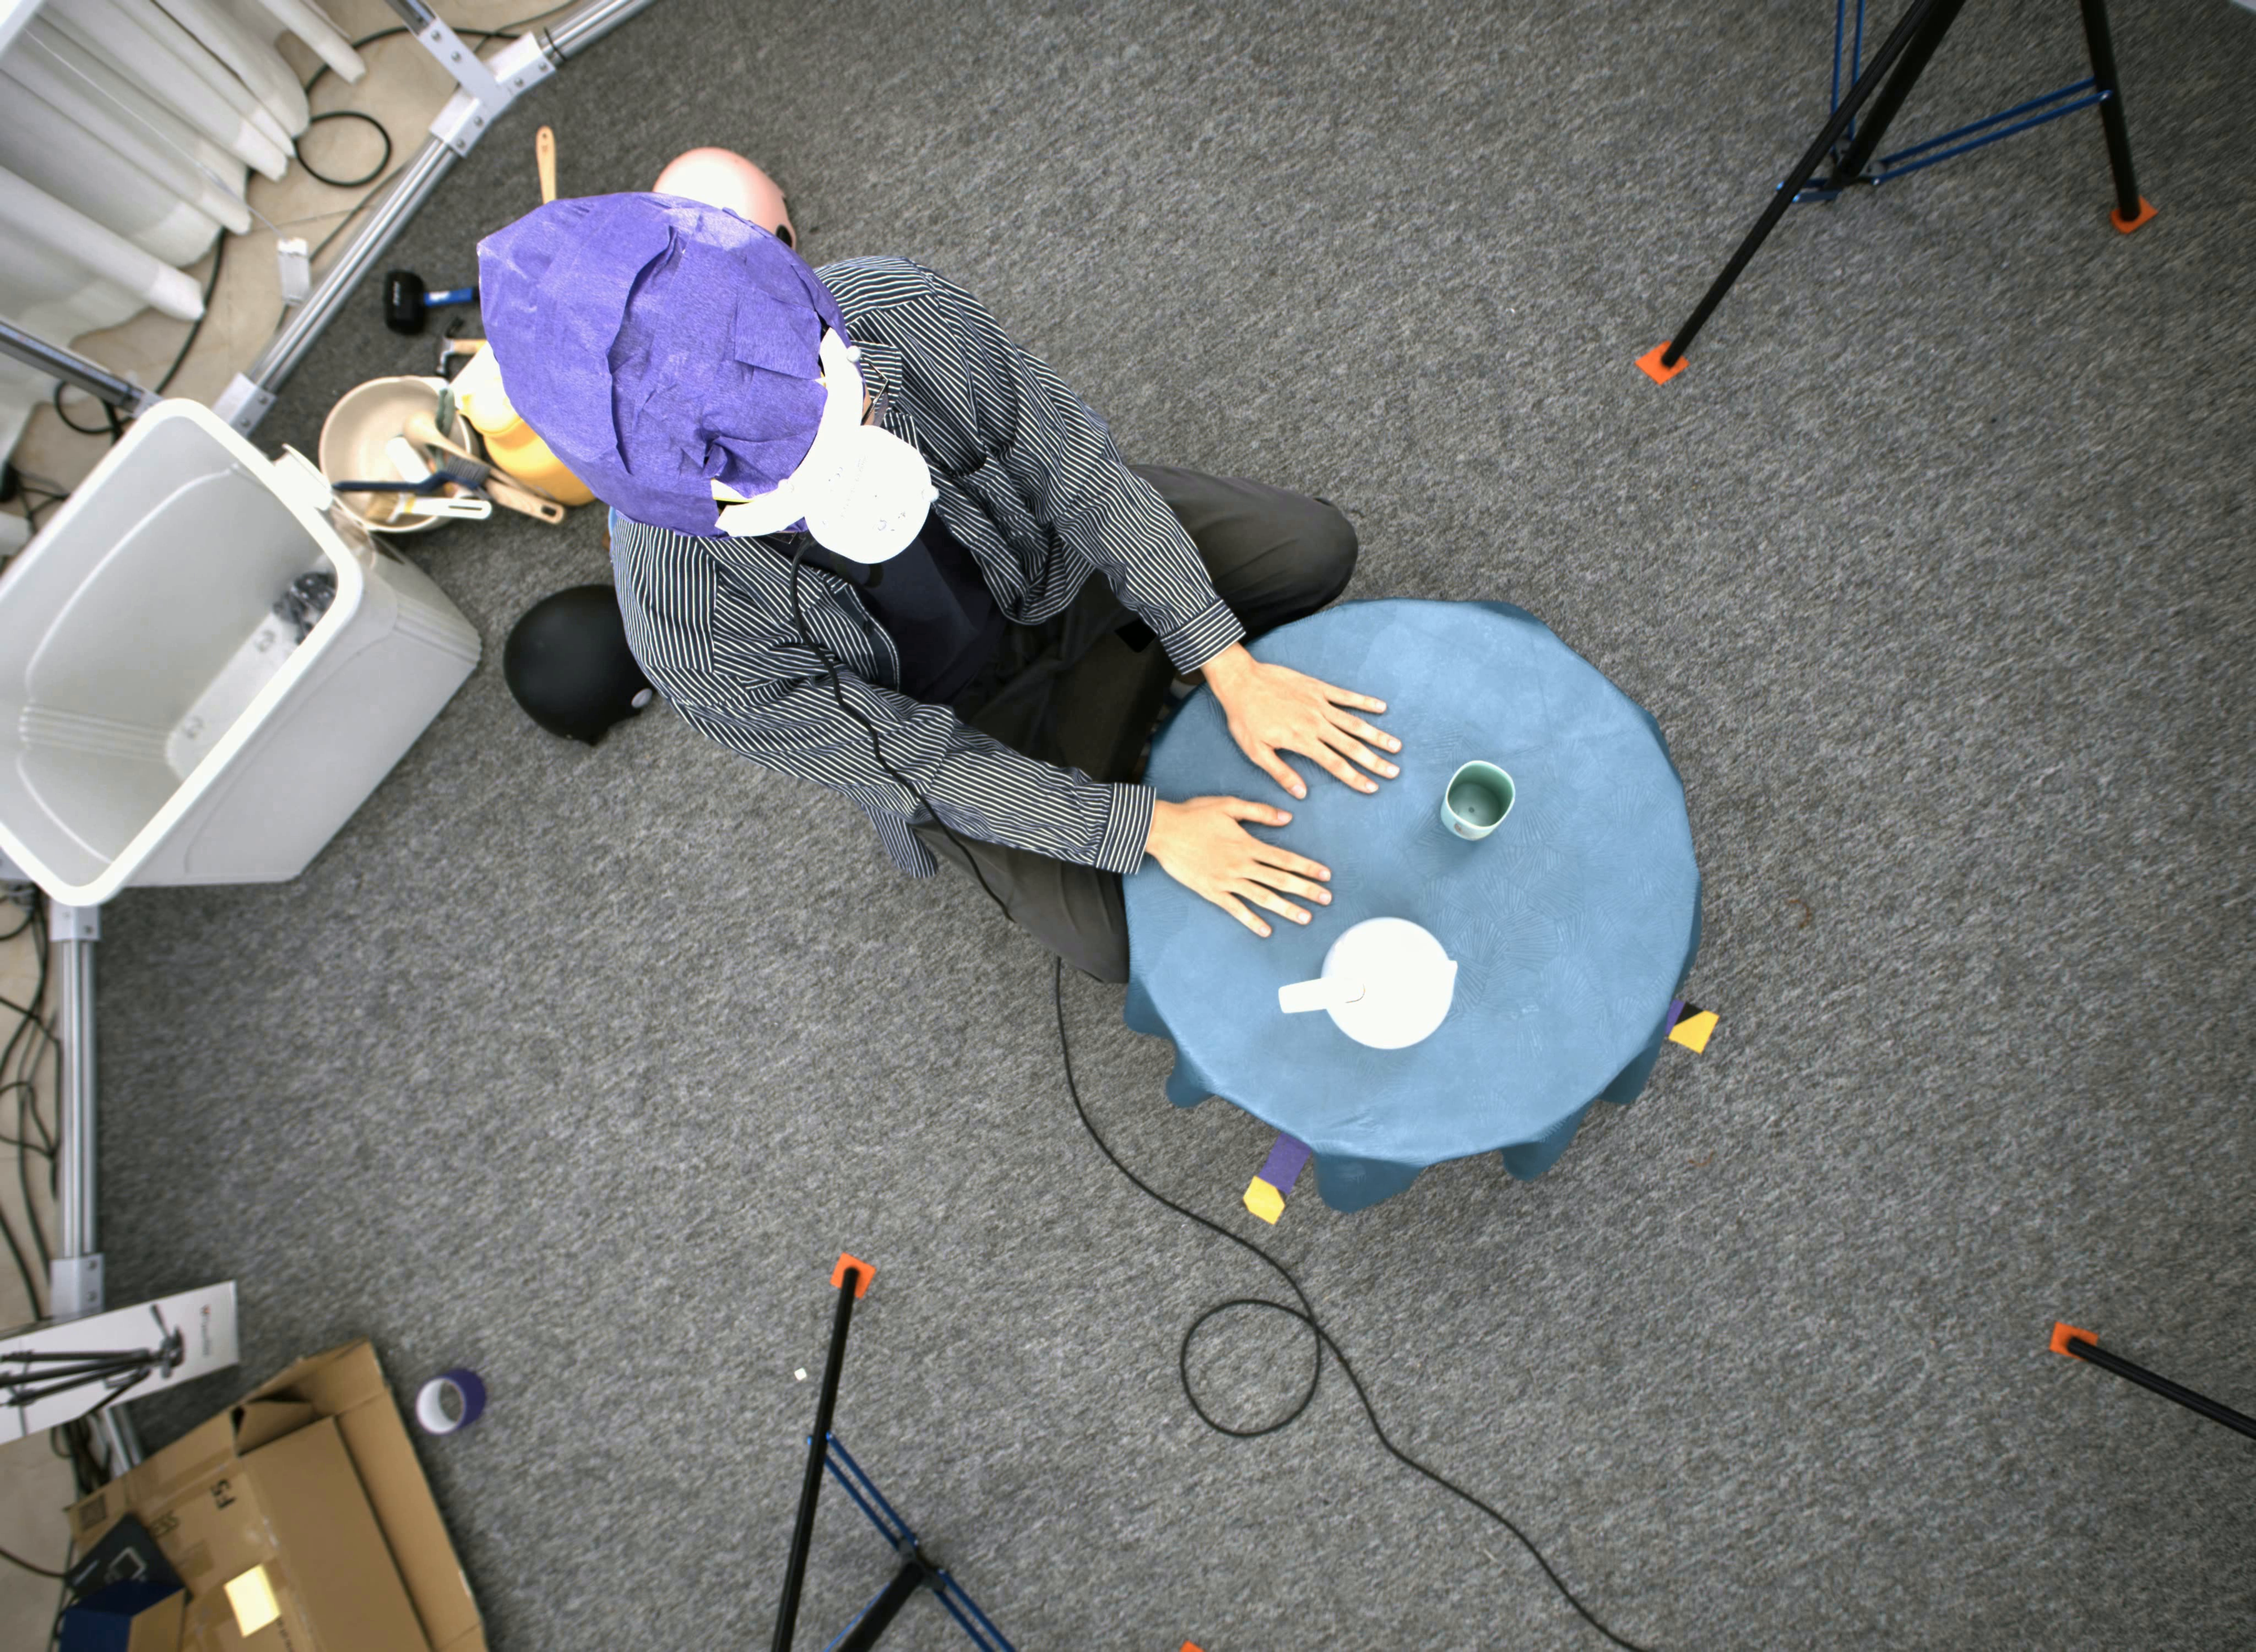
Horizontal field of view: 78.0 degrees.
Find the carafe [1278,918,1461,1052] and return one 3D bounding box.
[{"bbox_3d":[0.229,0.157,1.323,0.168,0.248,0.132,-13,84,9],"label":"carafe"}]

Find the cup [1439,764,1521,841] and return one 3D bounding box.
[{"bbox_3d":[0.348,-0.024,1.374,0.067,0.132,0.066,0,86,7],"label":"cup"}]
